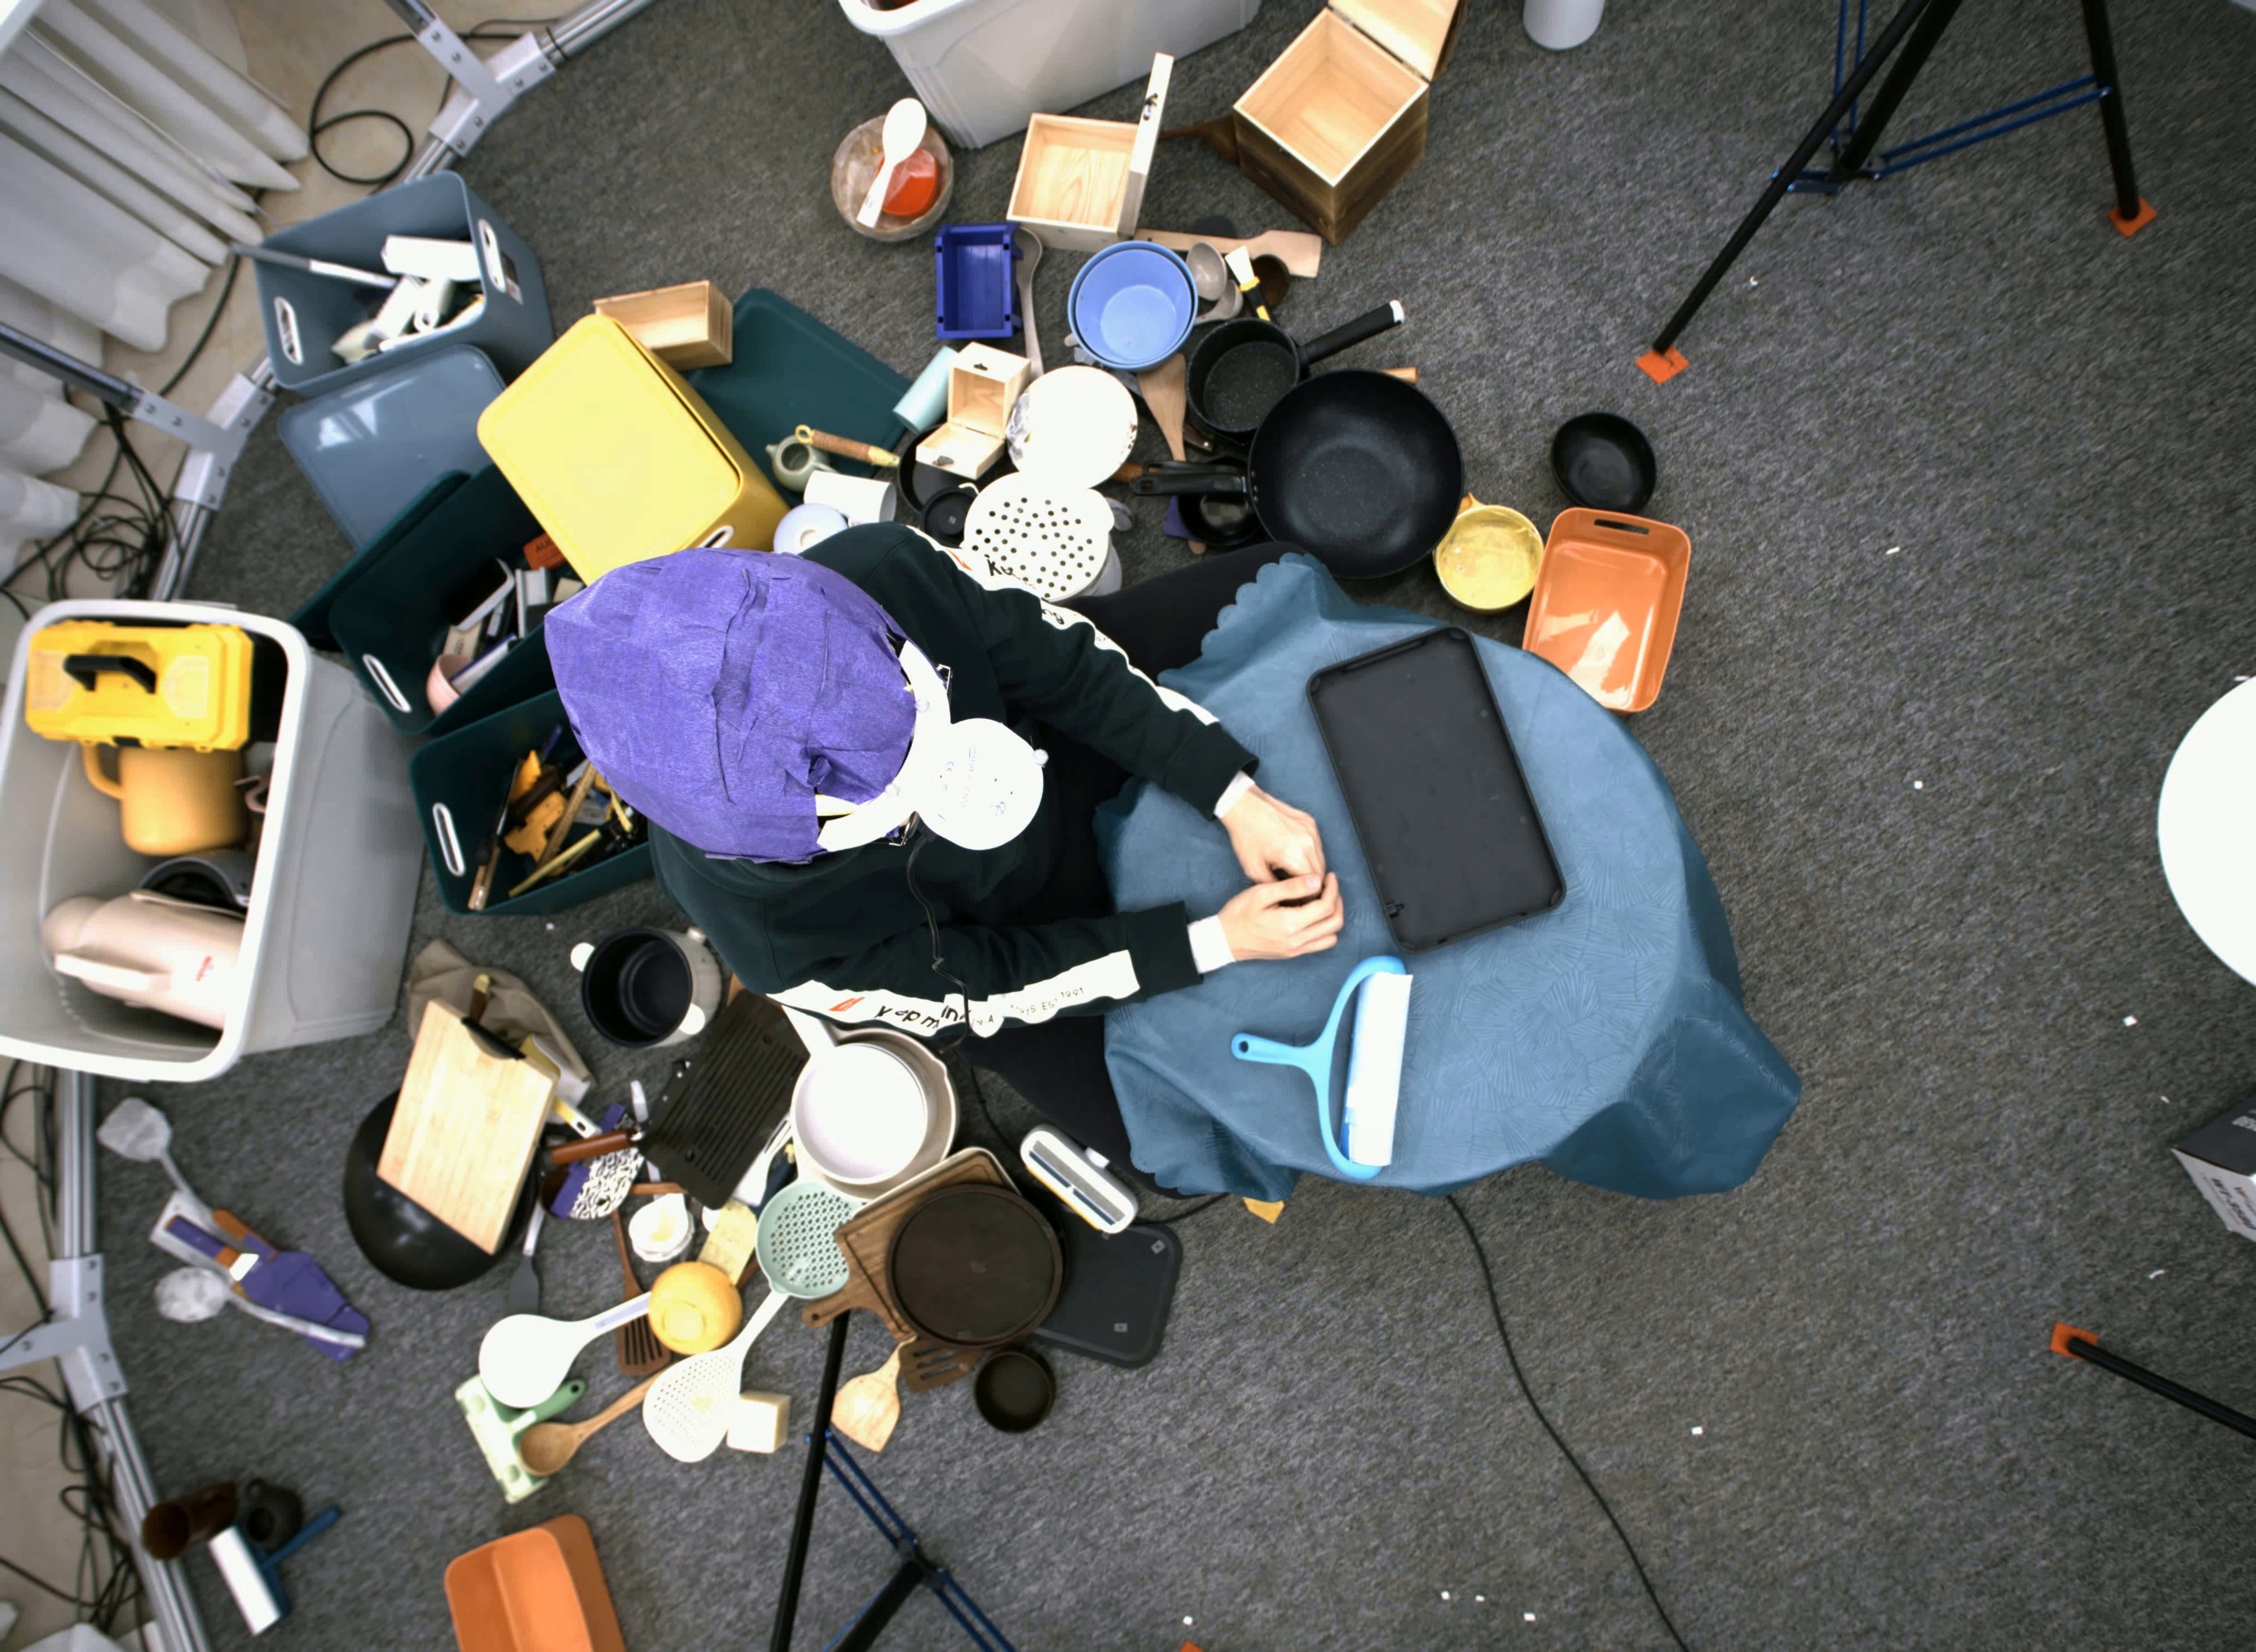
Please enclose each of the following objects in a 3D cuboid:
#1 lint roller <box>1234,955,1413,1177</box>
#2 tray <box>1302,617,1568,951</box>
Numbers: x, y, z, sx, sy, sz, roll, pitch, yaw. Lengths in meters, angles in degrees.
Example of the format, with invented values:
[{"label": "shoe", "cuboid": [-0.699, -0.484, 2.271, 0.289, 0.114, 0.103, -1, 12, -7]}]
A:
[{"label": "lint roller", "cuboid": [0.196, 0.241, 1.431, 0.181, 0.068, 0.228, 4, 90, 9]}, {"label": "tray", "cuboid": [0.317, -0.045, 1.435, 0.185, 0.037, 0.316, -21, 85, 9]}]
